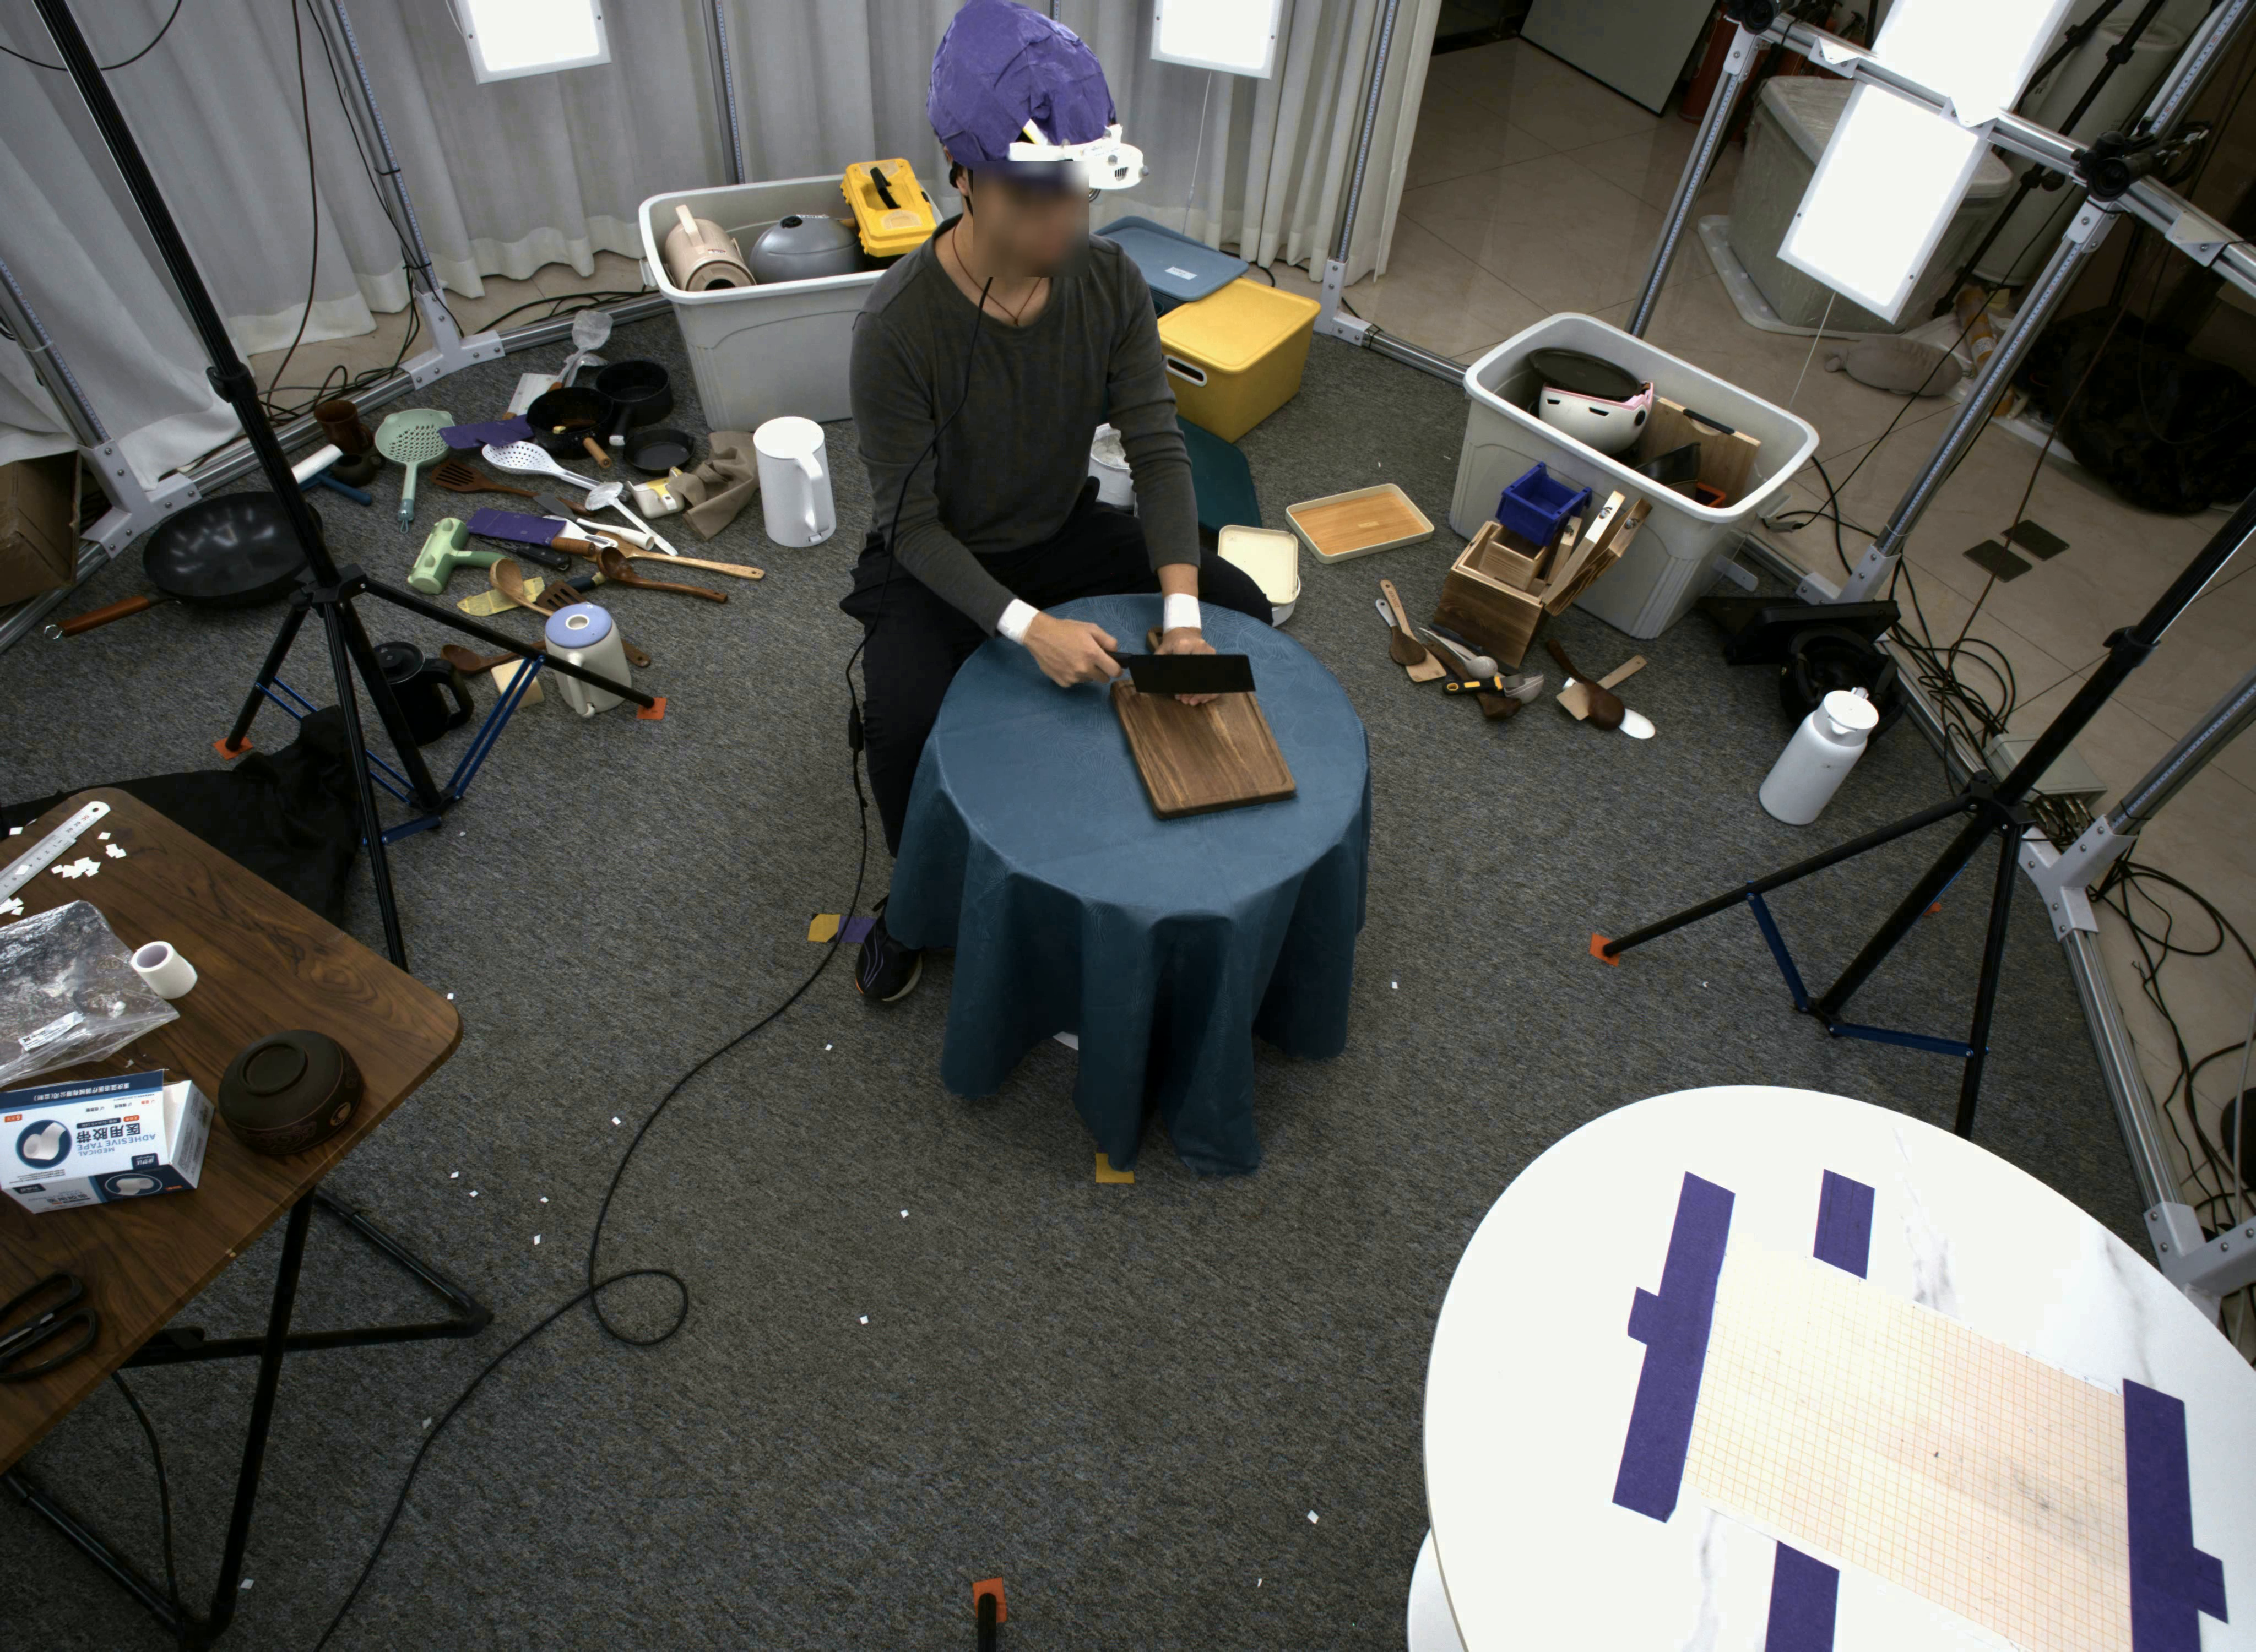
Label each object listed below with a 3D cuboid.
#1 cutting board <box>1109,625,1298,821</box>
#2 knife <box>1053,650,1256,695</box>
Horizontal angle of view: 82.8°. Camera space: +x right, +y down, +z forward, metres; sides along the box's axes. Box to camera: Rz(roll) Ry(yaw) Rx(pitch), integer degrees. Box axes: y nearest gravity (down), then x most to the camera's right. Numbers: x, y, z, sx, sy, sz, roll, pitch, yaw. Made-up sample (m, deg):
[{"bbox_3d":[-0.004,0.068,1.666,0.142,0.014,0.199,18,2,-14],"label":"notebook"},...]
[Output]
[{"bbox_3d":[0.088,-0.159,1.797,0.201,0.022,0.361,-9,50,-13],"label":"cutting board"},{"bbox_3d":[0.031,-0.215,1.776,0.304,0.079,0.021,7,42,23],"label":"knife"}]
